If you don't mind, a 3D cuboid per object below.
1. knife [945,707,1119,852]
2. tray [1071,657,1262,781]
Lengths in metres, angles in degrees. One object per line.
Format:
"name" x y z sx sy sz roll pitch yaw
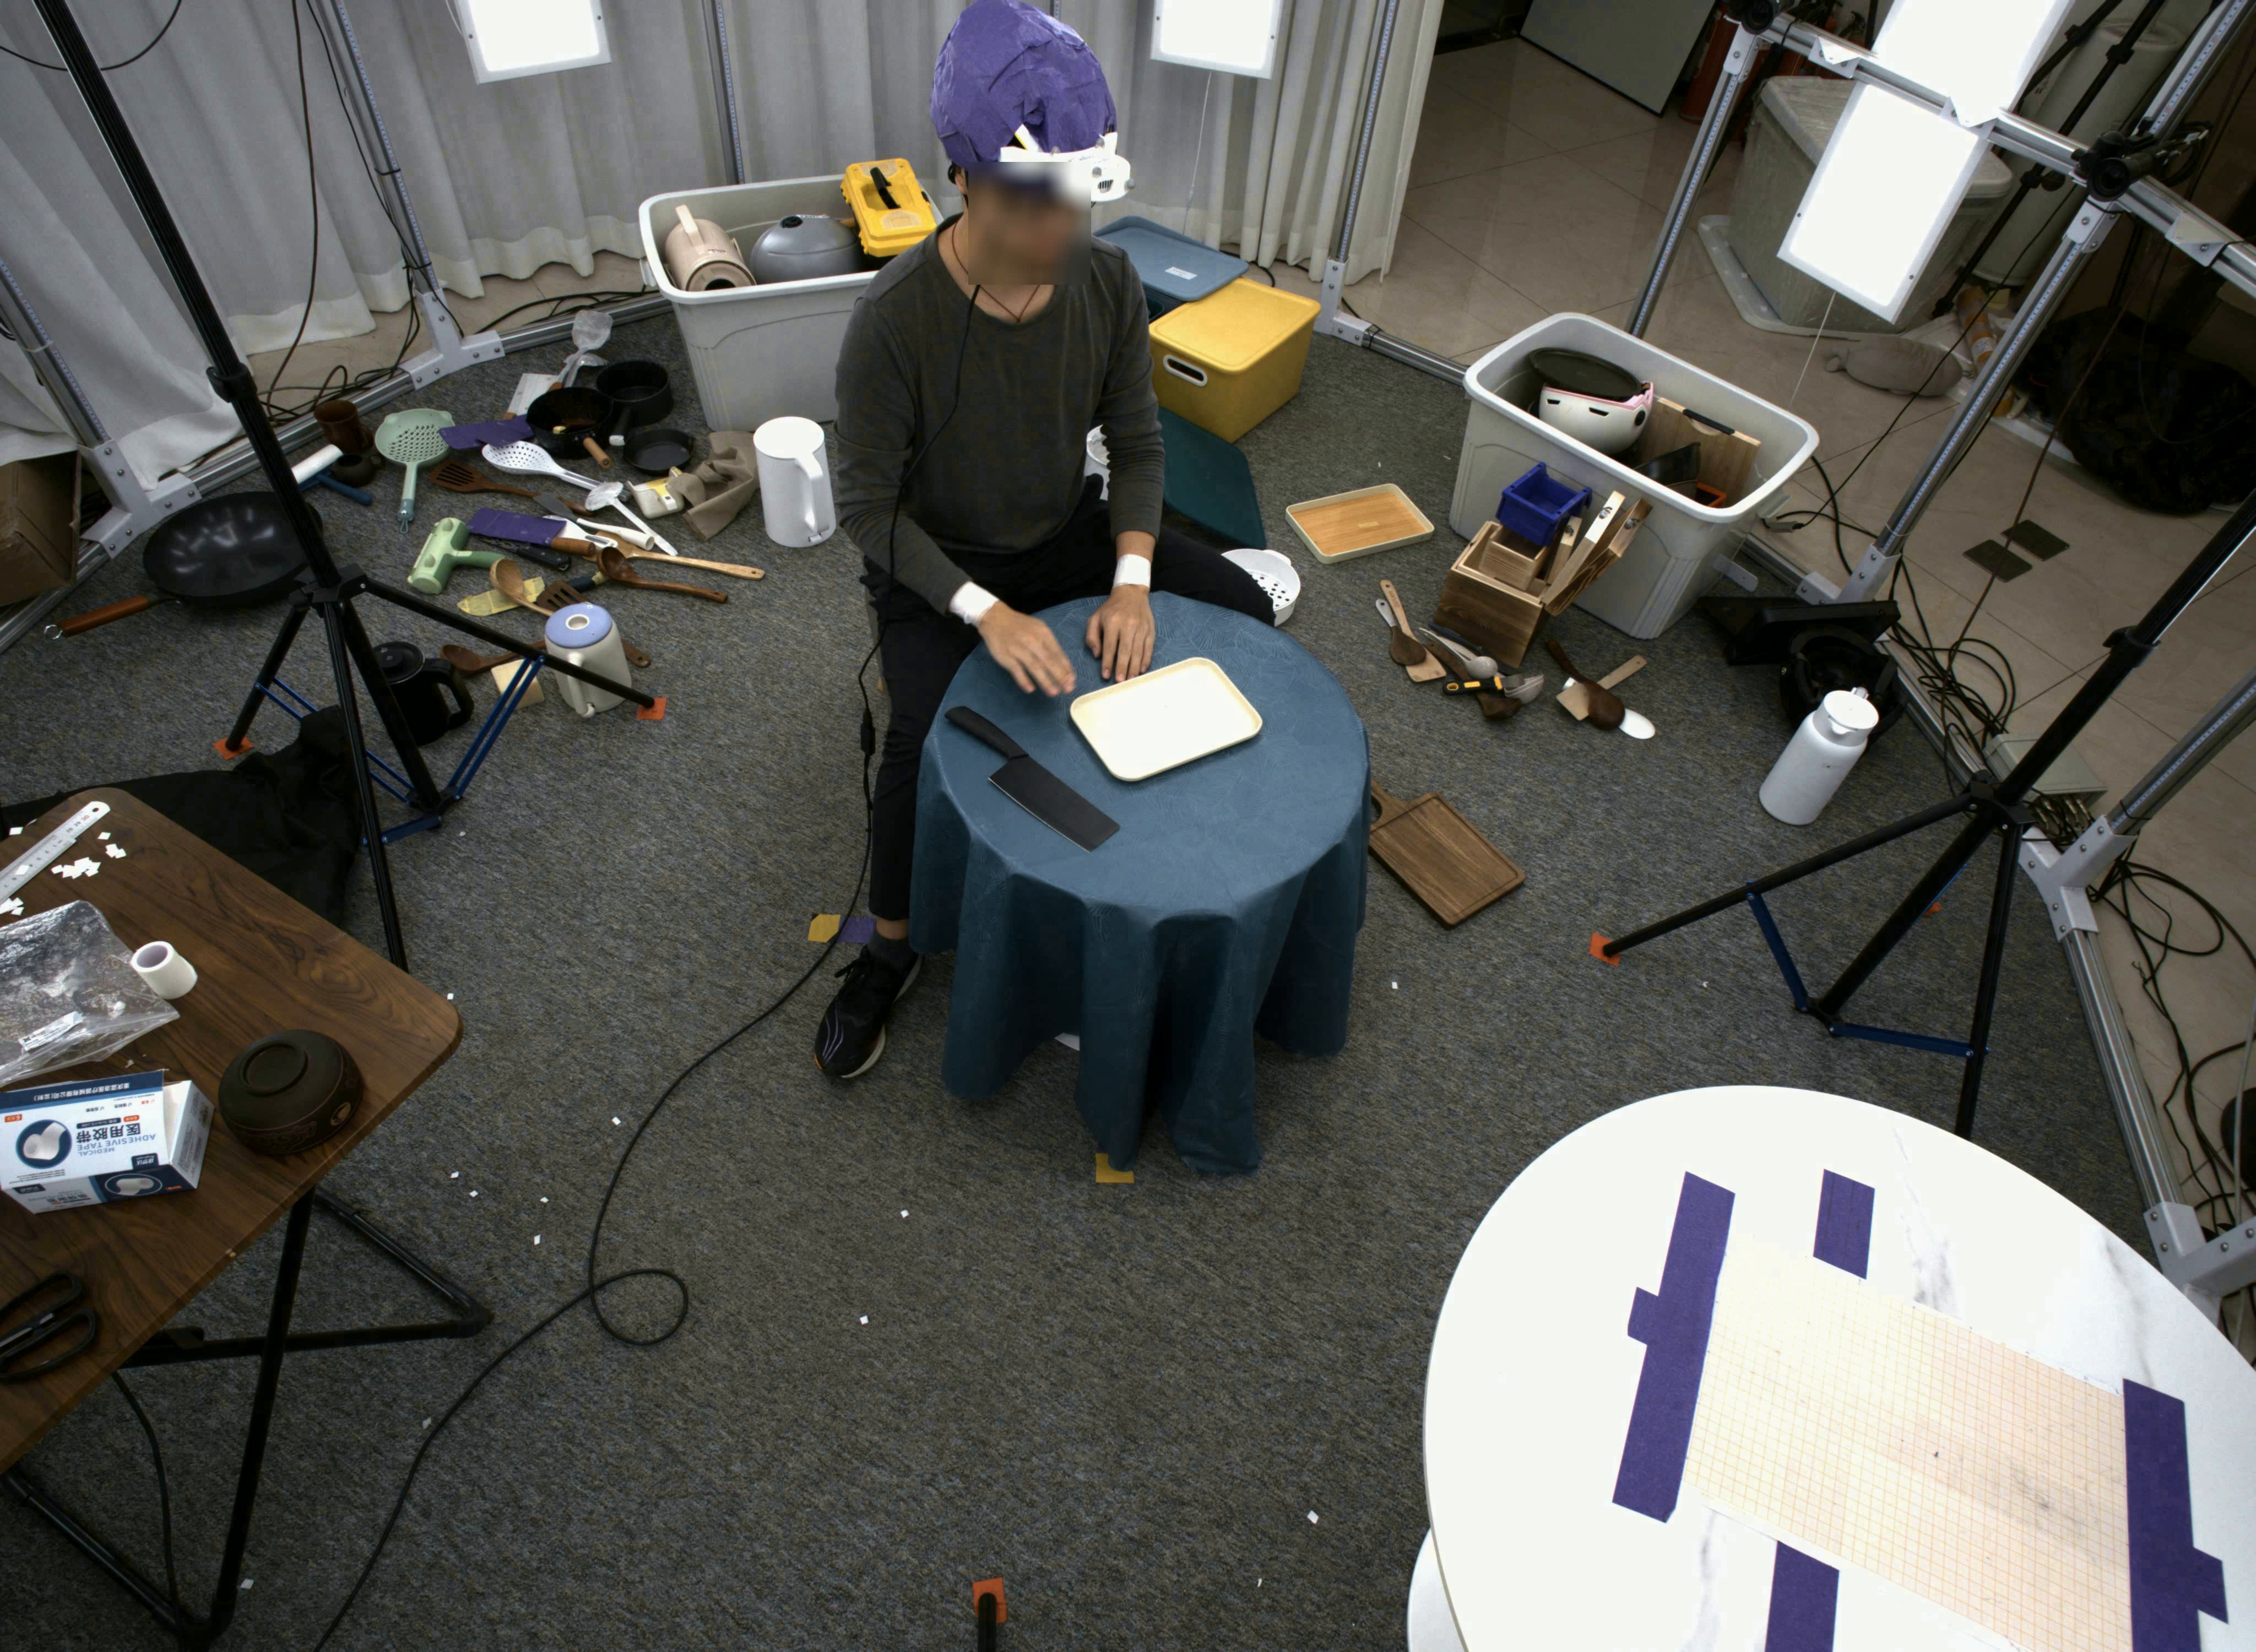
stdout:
"knife" -0.138 -0.067 1.708 0.081 0.020 0.307 -34 61 -28
"tray" 0.053 -0.150 1.789 0.240 0.017 0.175 -21 53 -21
